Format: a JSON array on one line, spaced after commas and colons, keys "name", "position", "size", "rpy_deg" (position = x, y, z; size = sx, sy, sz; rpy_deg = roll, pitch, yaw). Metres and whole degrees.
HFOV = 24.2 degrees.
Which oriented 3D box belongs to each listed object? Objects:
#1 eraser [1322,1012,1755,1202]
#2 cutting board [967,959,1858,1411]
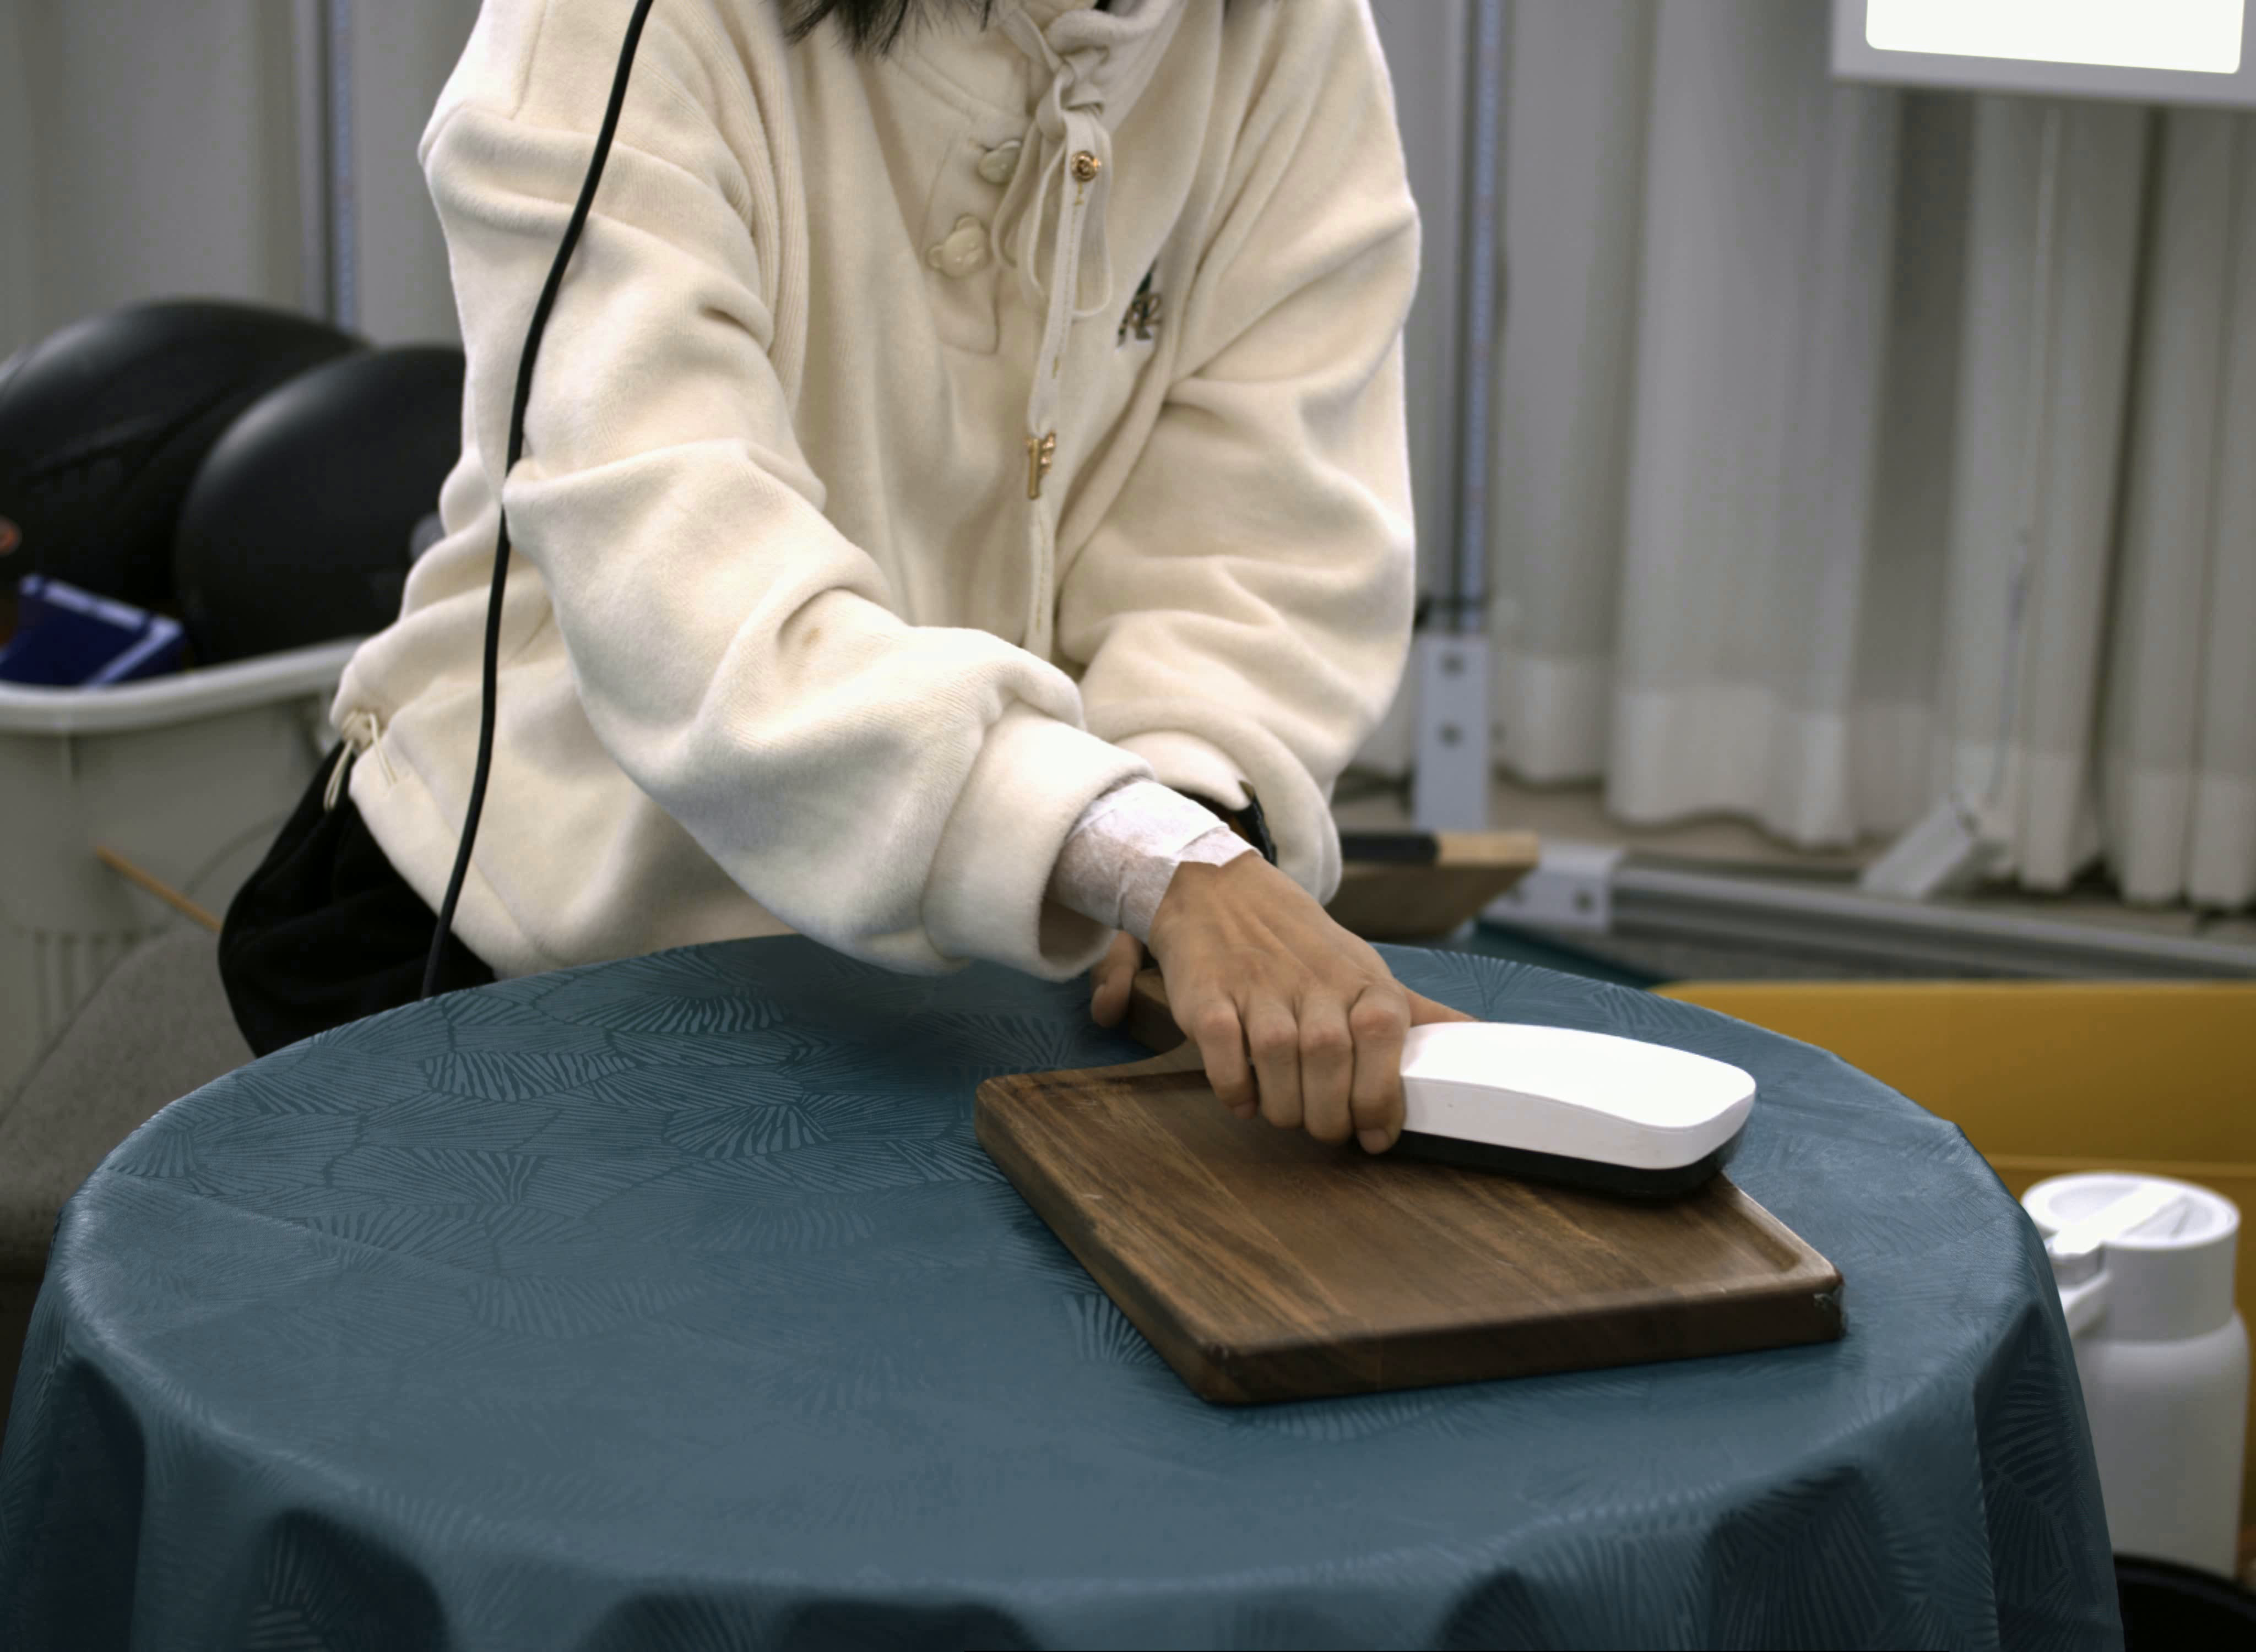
[{"name": "eraser", "position": [0.125, 0.084, 1.606], "size": [0.129, 0.035, 0.063], "rpy_deg": [9, 19, 34]}, {"name": "cutting board", "position": [0.064, 0.100, 1.627], "size": [0.201, 0.023, 0.348], "rpy_deg": [-4, 16, -17]}]
